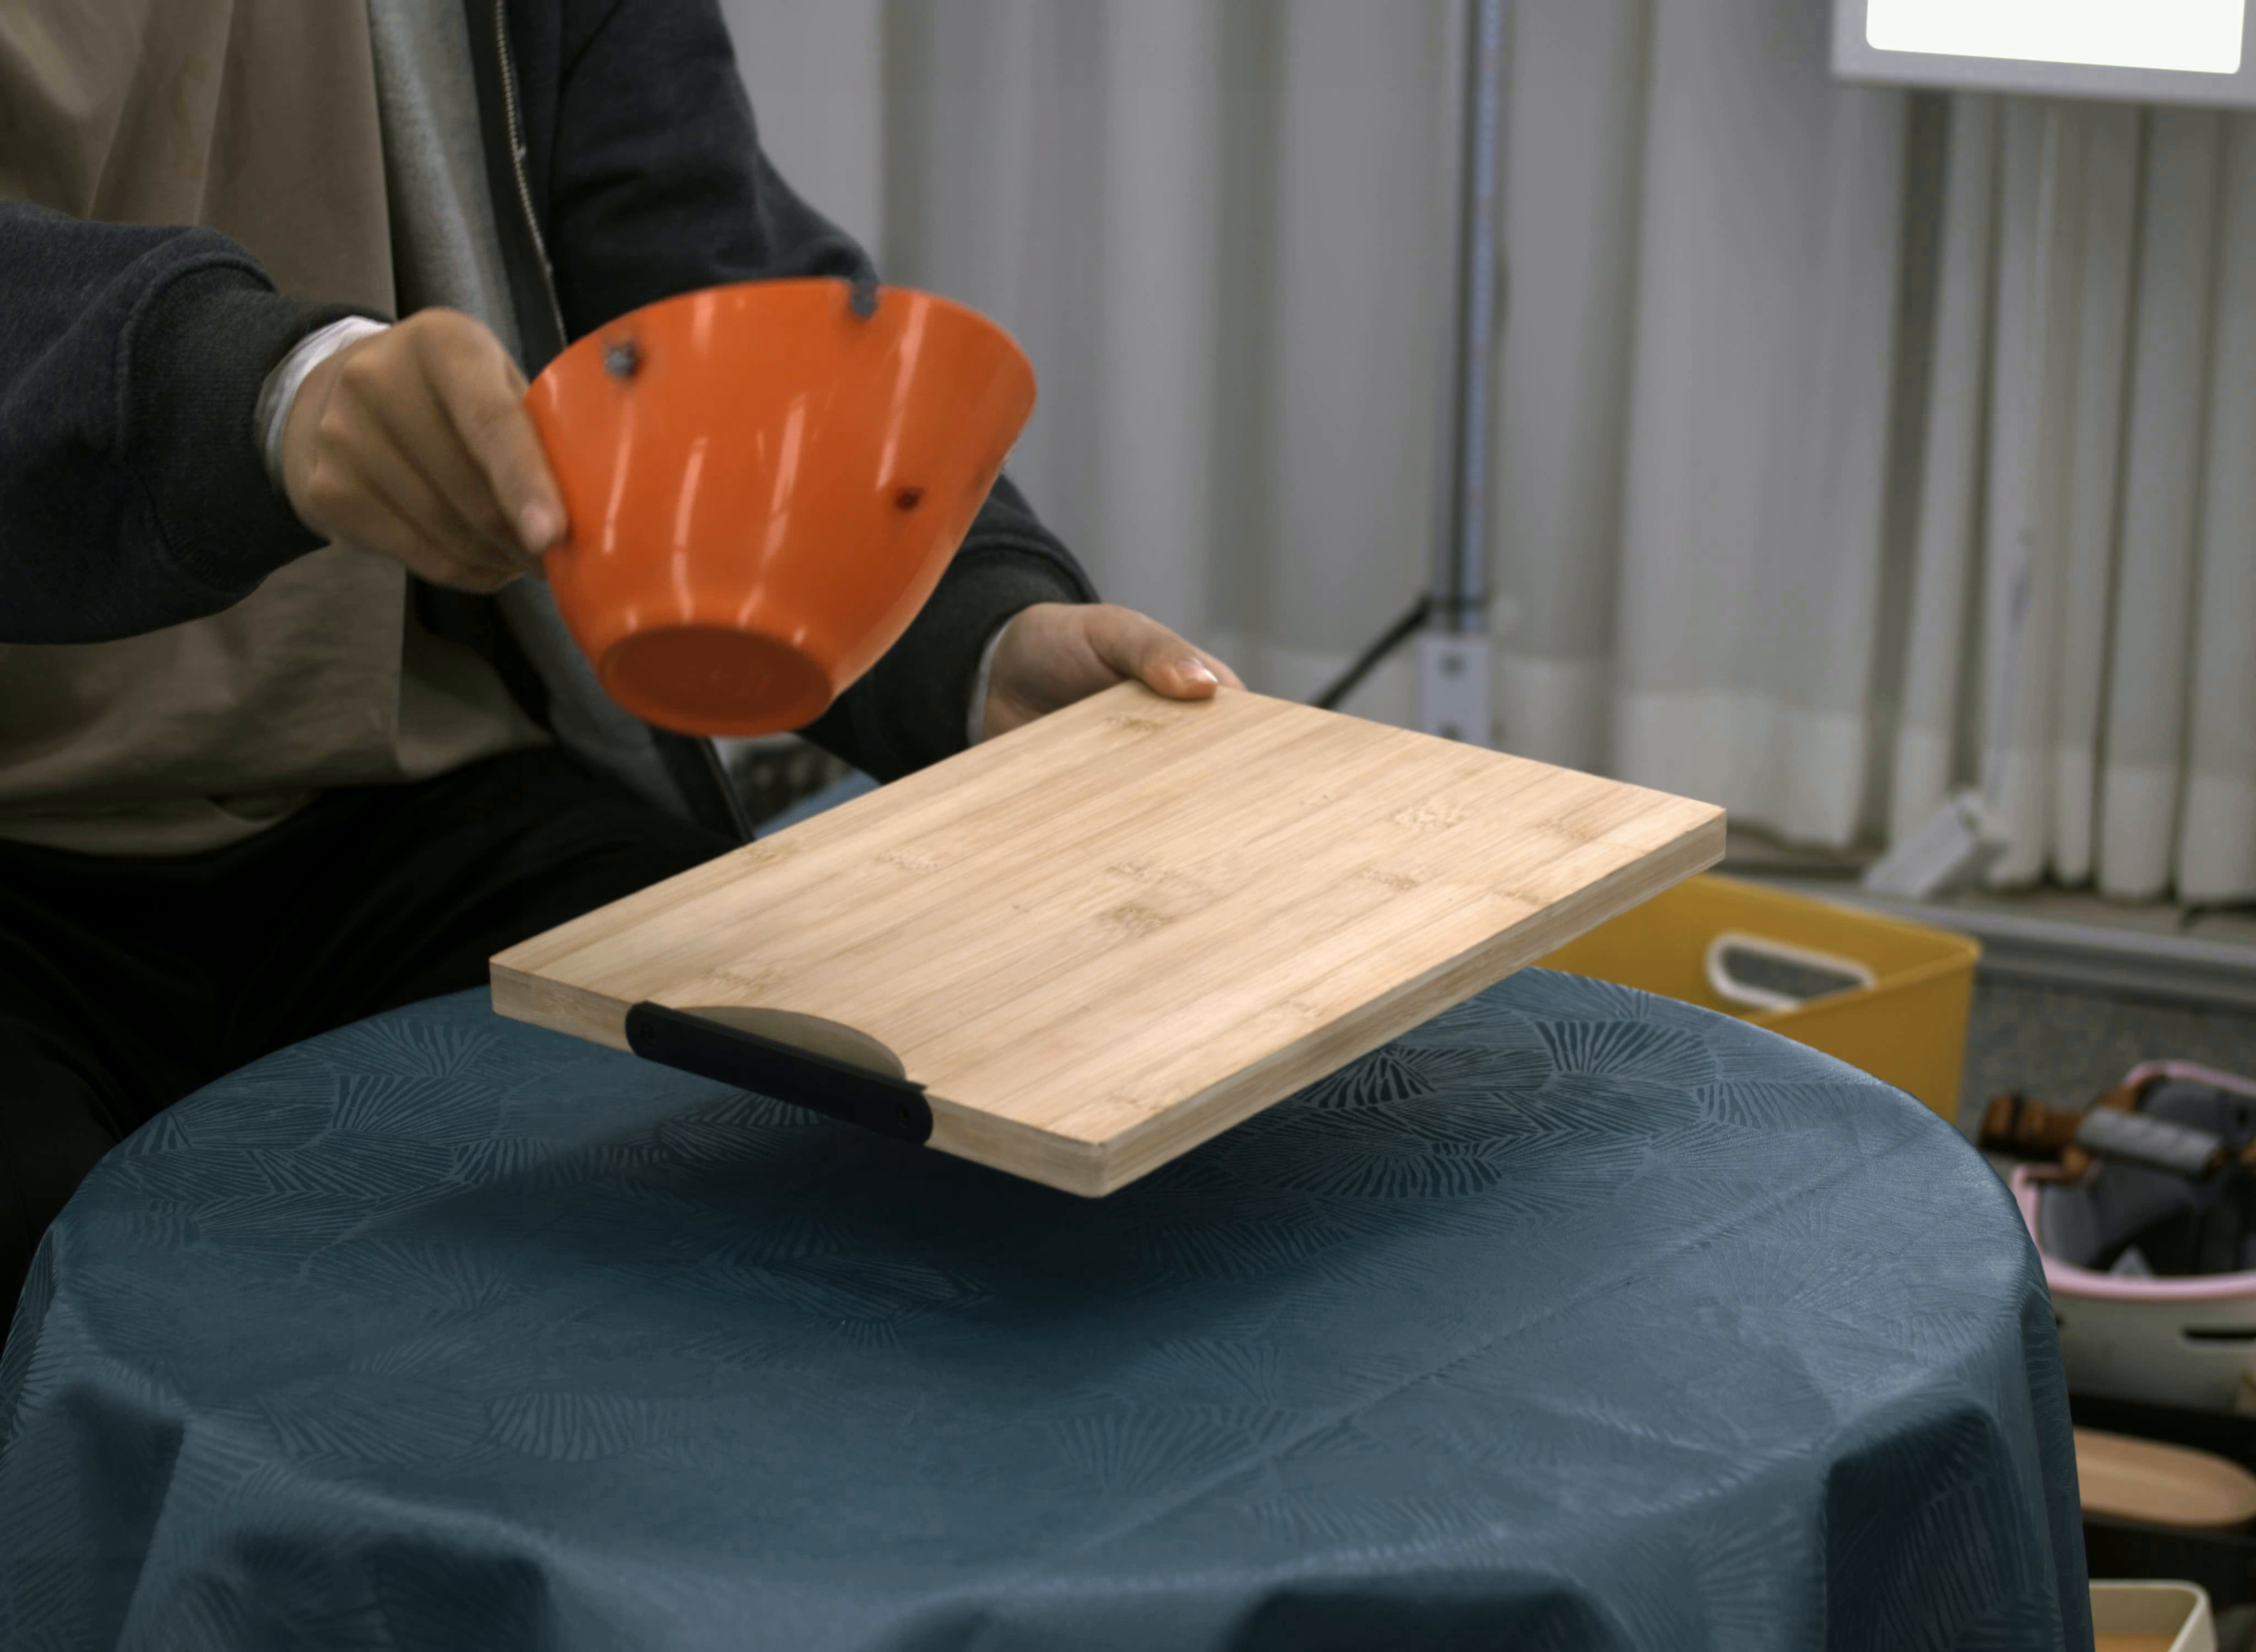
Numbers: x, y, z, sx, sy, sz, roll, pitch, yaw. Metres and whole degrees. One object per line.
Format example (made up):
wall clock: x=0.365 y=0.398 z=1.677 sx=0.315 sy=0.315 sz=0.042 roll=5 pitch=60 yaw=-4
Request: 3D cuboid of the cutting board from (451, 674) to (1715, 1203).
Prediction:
cutting board: x=-0.005 y=0.027 z=1.669 sx=0.247 sy=0.024 sz=0.350 roll=14 pitch=24 yaw=34

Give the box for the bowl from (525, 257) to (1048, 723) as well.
bowl: x=-0.100 y=-0.087 z=1.481 sx=0.147 sy=0.104 sz=0.149 roll=3 pitch=-28 yaw=2
